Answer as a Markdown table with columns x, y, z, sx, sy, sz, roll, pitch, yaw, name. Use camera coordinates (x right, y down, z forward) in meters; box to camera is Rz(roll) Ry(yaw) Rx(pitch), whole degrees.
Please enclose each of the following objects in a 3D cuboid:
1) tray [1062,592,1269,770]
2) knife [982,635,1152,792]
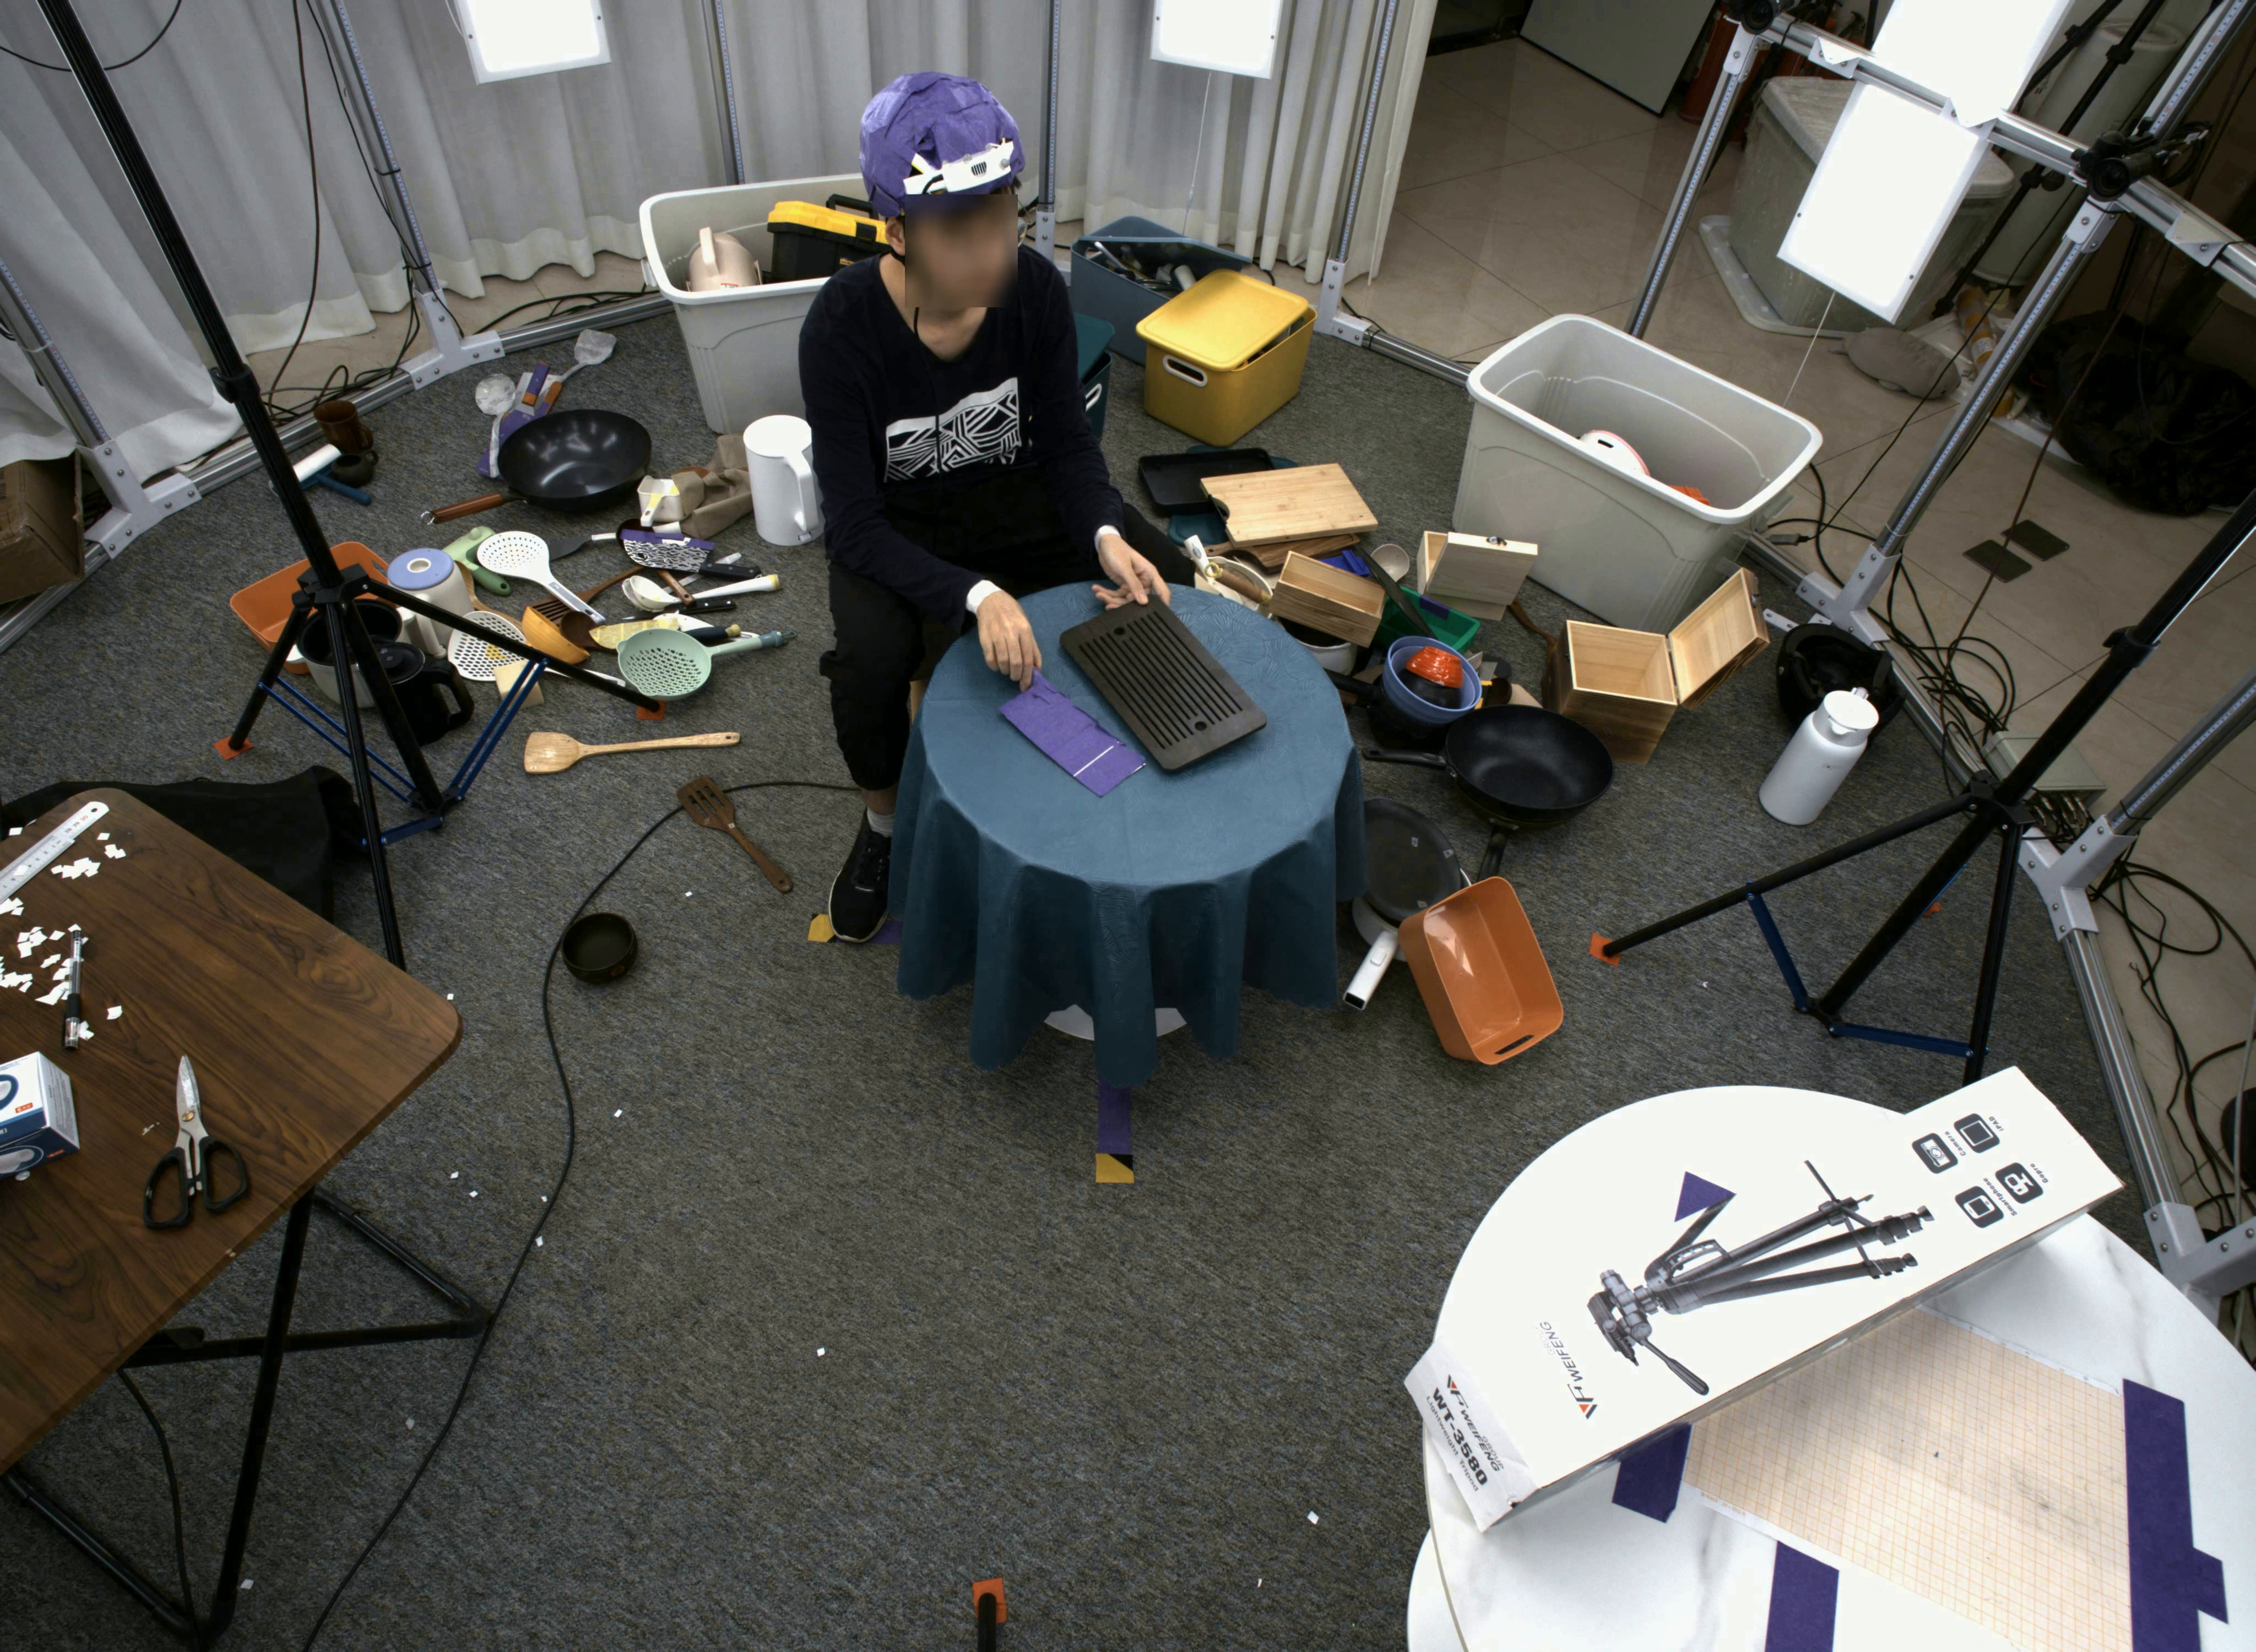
| x | y | z | sx | sy | sz | roll | pitch | yaw | name |
| --- | --- | --- | --- | --- | --- | --- | --- | --- | --- |
| 0.050 | -0.211 | 1.828 | 0.171 | 0.018 | 0.312 | -27 | 56 | -16 | tray |
| -0.111 | -0.159 | 1.779 | 0.105 | 0.031 | 0.320 | -35 | 60 | -29 | knife |
